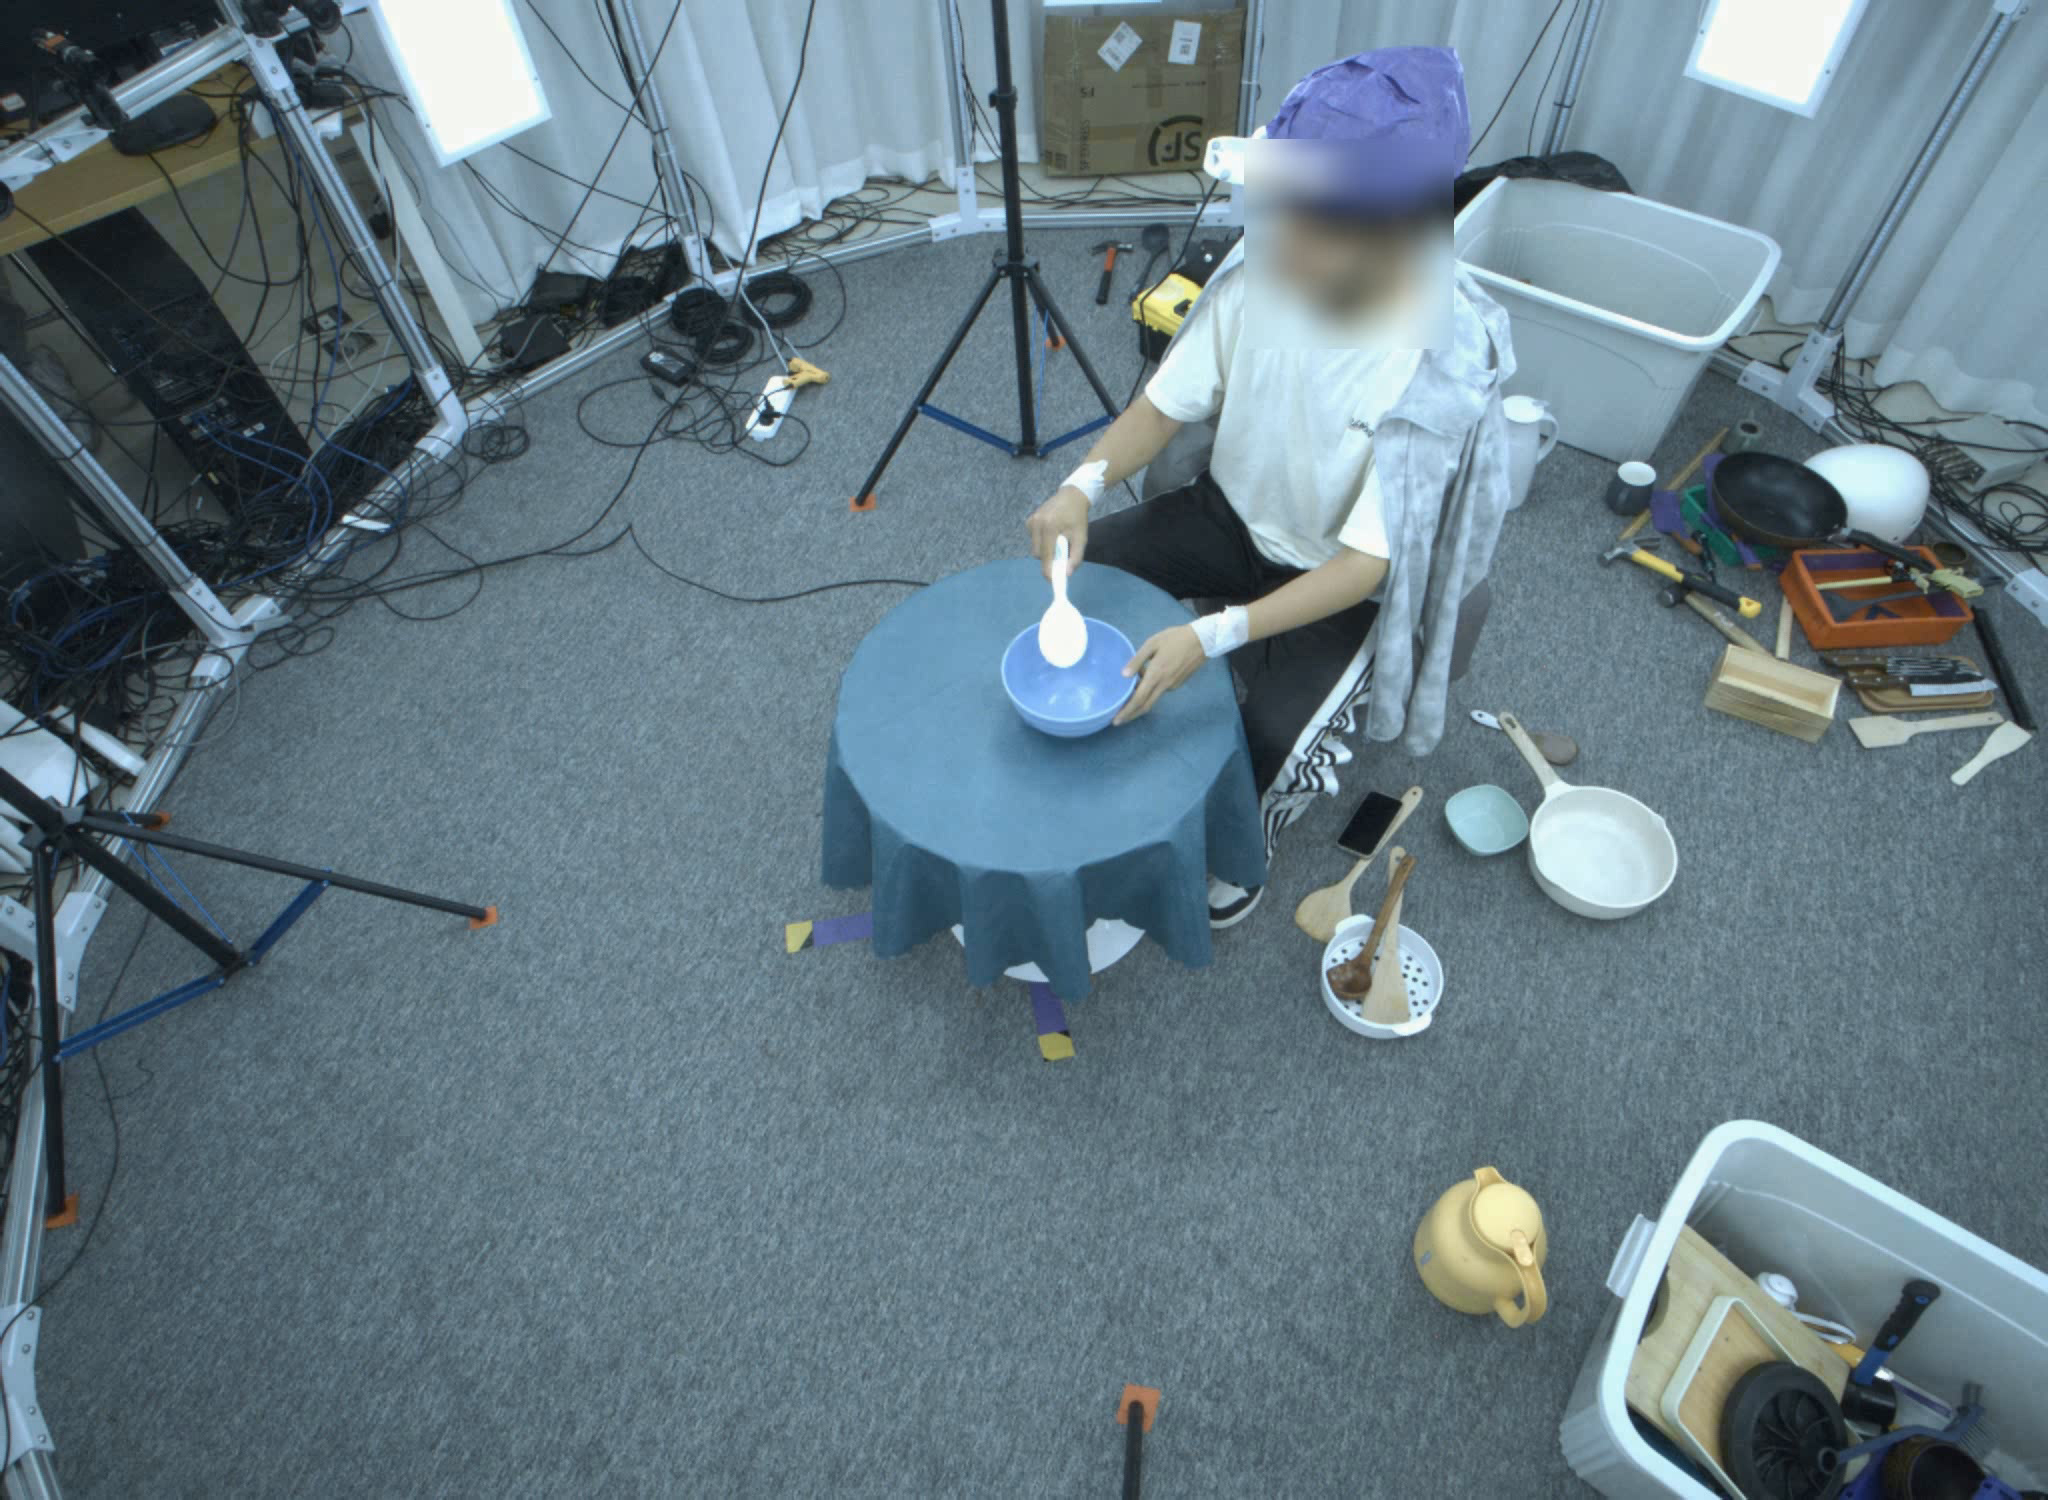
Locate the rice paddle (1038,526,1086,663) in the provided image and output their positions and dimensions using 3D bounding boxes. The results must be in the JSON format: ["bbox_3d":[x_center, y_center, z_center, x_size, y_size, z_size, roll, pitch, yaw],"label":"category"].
[{"bbox_3d":[0.051,-0.225,1.782,0.068,0.030,0.204,-5,78,7],"label":"rice paddle"}]

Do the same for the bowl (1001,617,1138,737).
[{"bbox_3d":[0.068,-0.092,1.792,0.196,0.096,0.194,-2,55,4],"label":"bowl"}]
